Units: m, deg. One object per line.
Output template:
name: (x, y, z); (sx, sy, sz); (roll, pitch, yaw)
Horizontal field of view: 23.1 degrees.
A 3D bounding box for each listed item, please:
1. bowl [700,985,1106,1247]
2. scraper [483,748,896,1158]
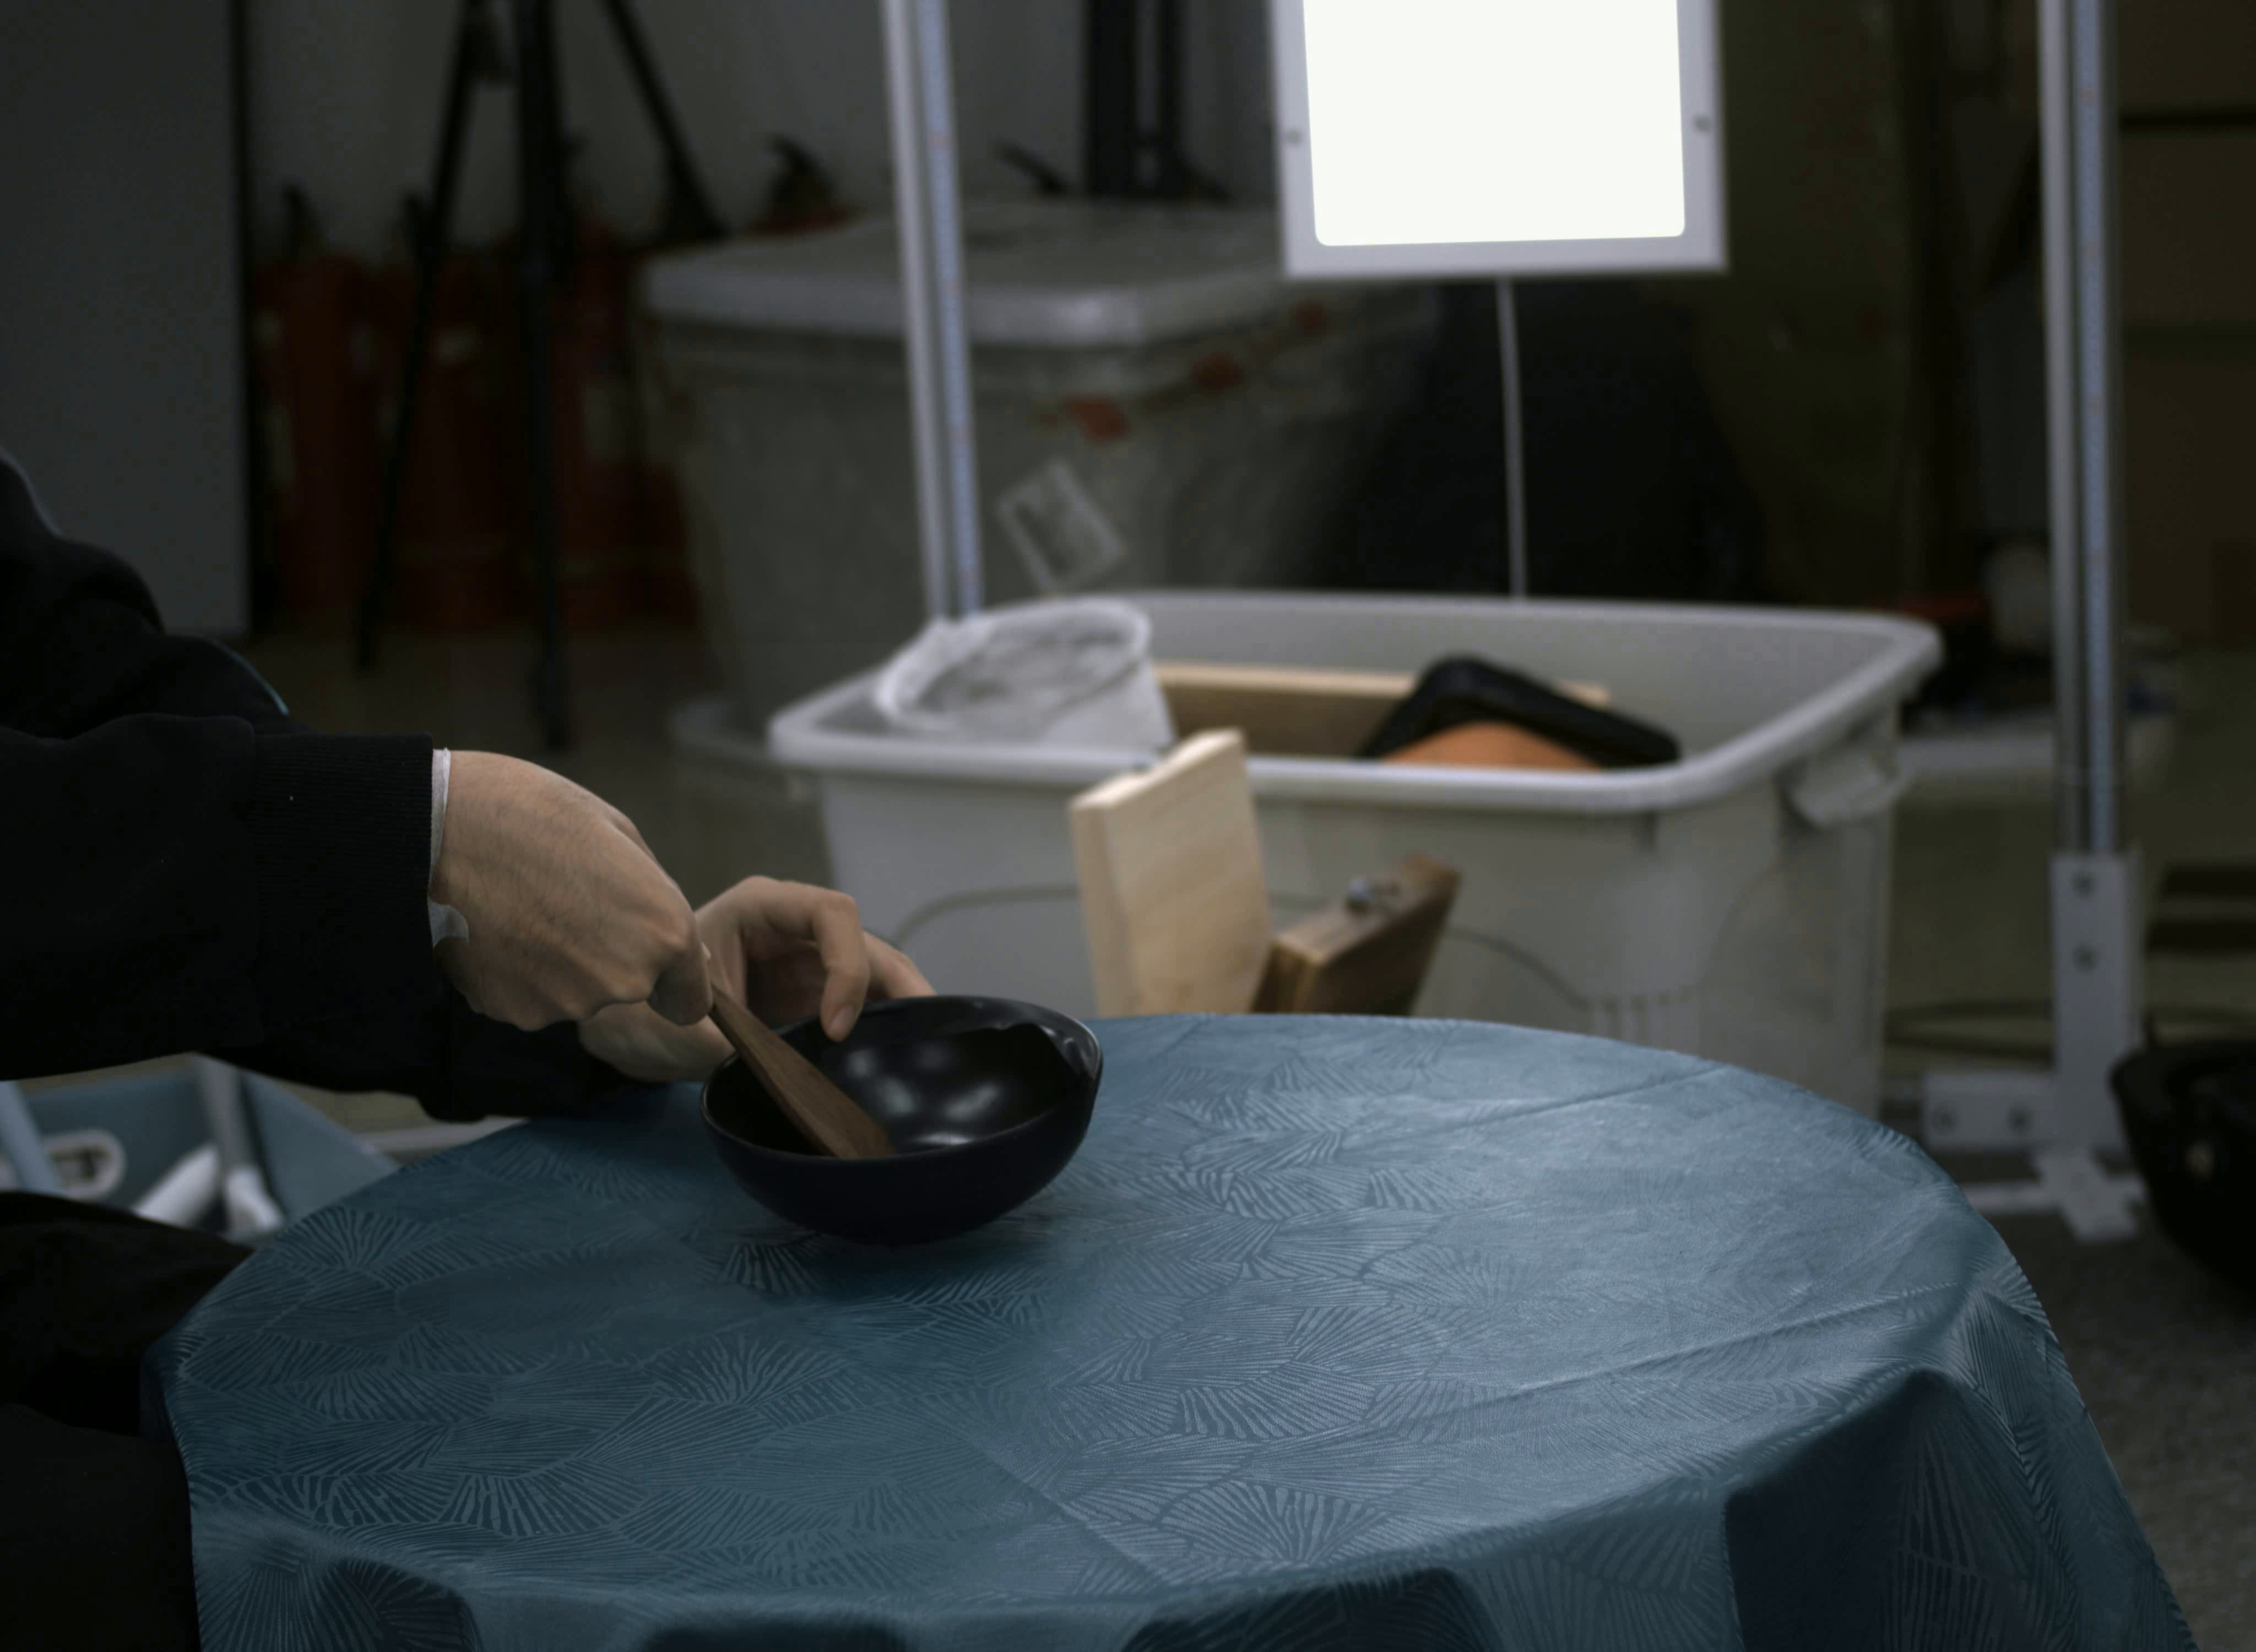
bowl: (-0.074, 0.105, 1.879); (0.140, 0.050, 0.140); (-6, 23, 1)
scraper: (-0.147, 0.050, 1.860); (0.011, 0.209, 0.076); (-39, 22, 7)
